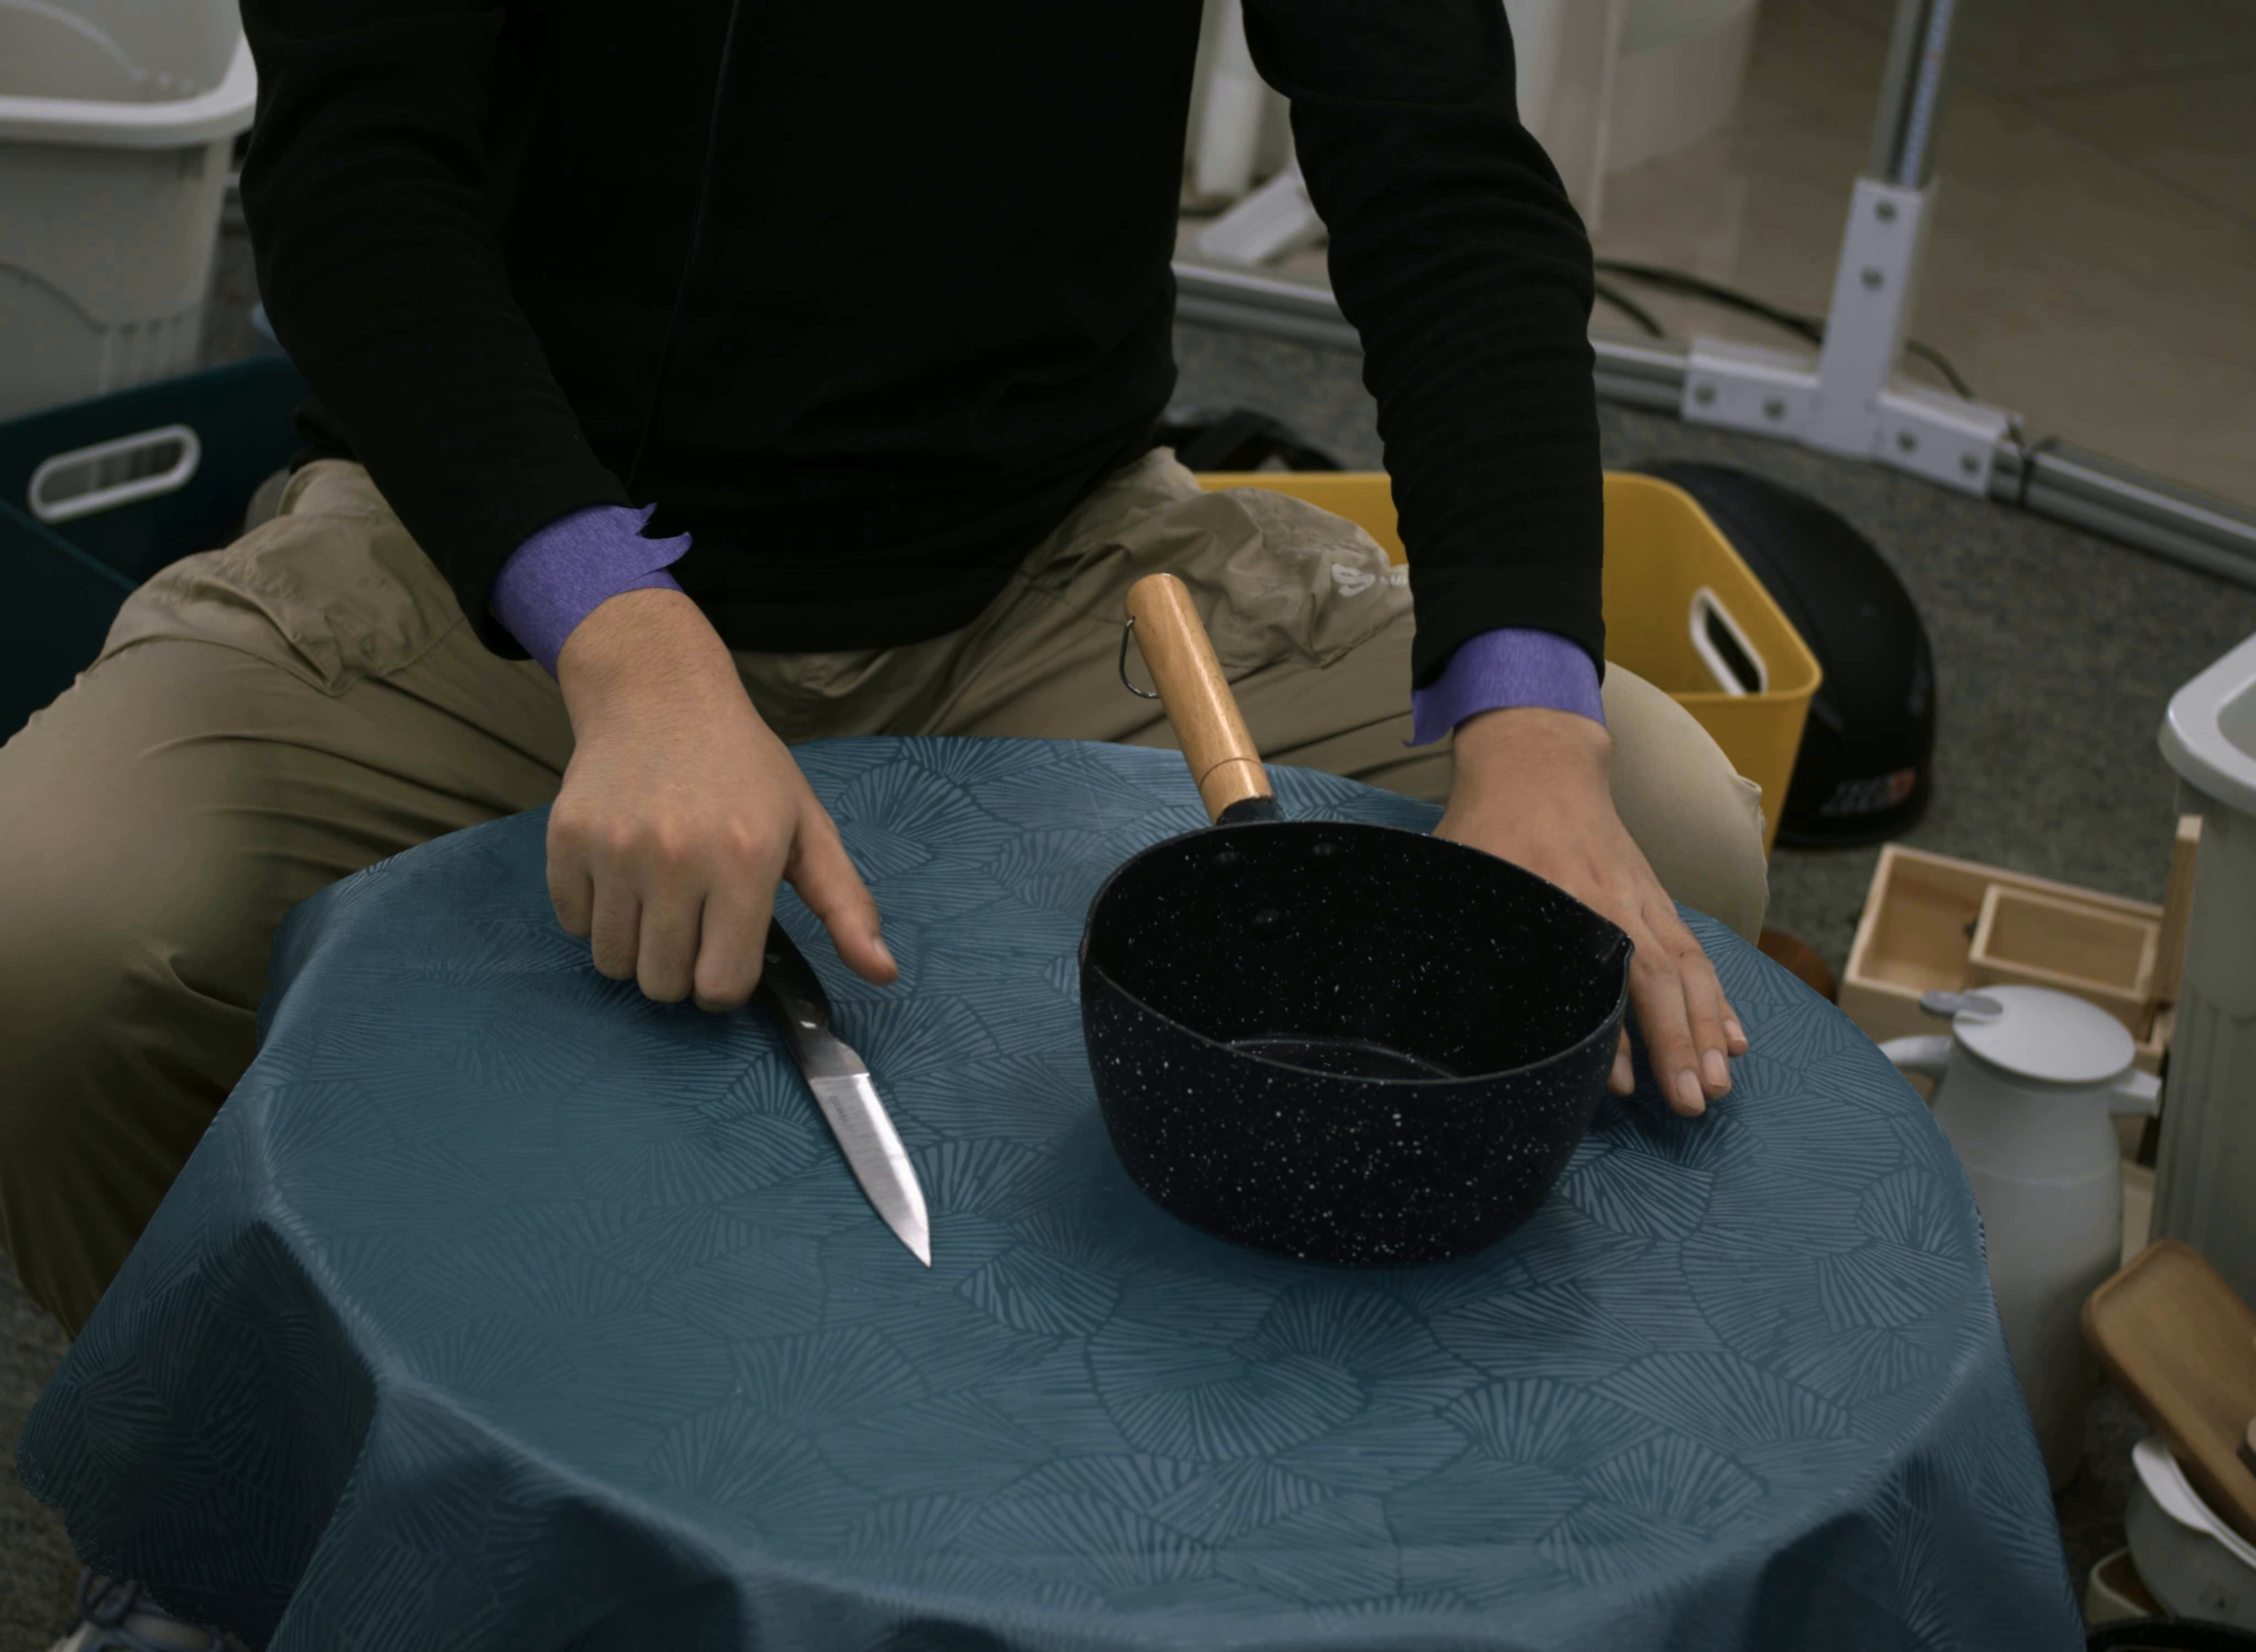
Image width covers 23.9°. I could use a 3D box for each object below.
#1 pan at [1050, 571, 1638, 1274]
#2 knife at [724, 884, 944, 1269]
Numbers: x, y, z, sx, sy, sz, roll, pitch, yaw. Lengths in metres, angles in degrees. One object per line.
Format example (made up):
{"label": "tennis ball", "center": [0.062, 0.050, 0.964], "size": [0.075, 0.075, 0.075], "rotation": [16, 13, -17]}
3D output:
{"label": "pan", "center": [0.051, 0.031, 1.883], "size": [0.206, 0.108, 0.346], "rotation": [-3, 29, -17]}
{"label": "knife", "center": [-0.103, 0.086, 1.844], "size": [0.024, 0.016, 0.240], "rotation": [-5, 32, -19]}
